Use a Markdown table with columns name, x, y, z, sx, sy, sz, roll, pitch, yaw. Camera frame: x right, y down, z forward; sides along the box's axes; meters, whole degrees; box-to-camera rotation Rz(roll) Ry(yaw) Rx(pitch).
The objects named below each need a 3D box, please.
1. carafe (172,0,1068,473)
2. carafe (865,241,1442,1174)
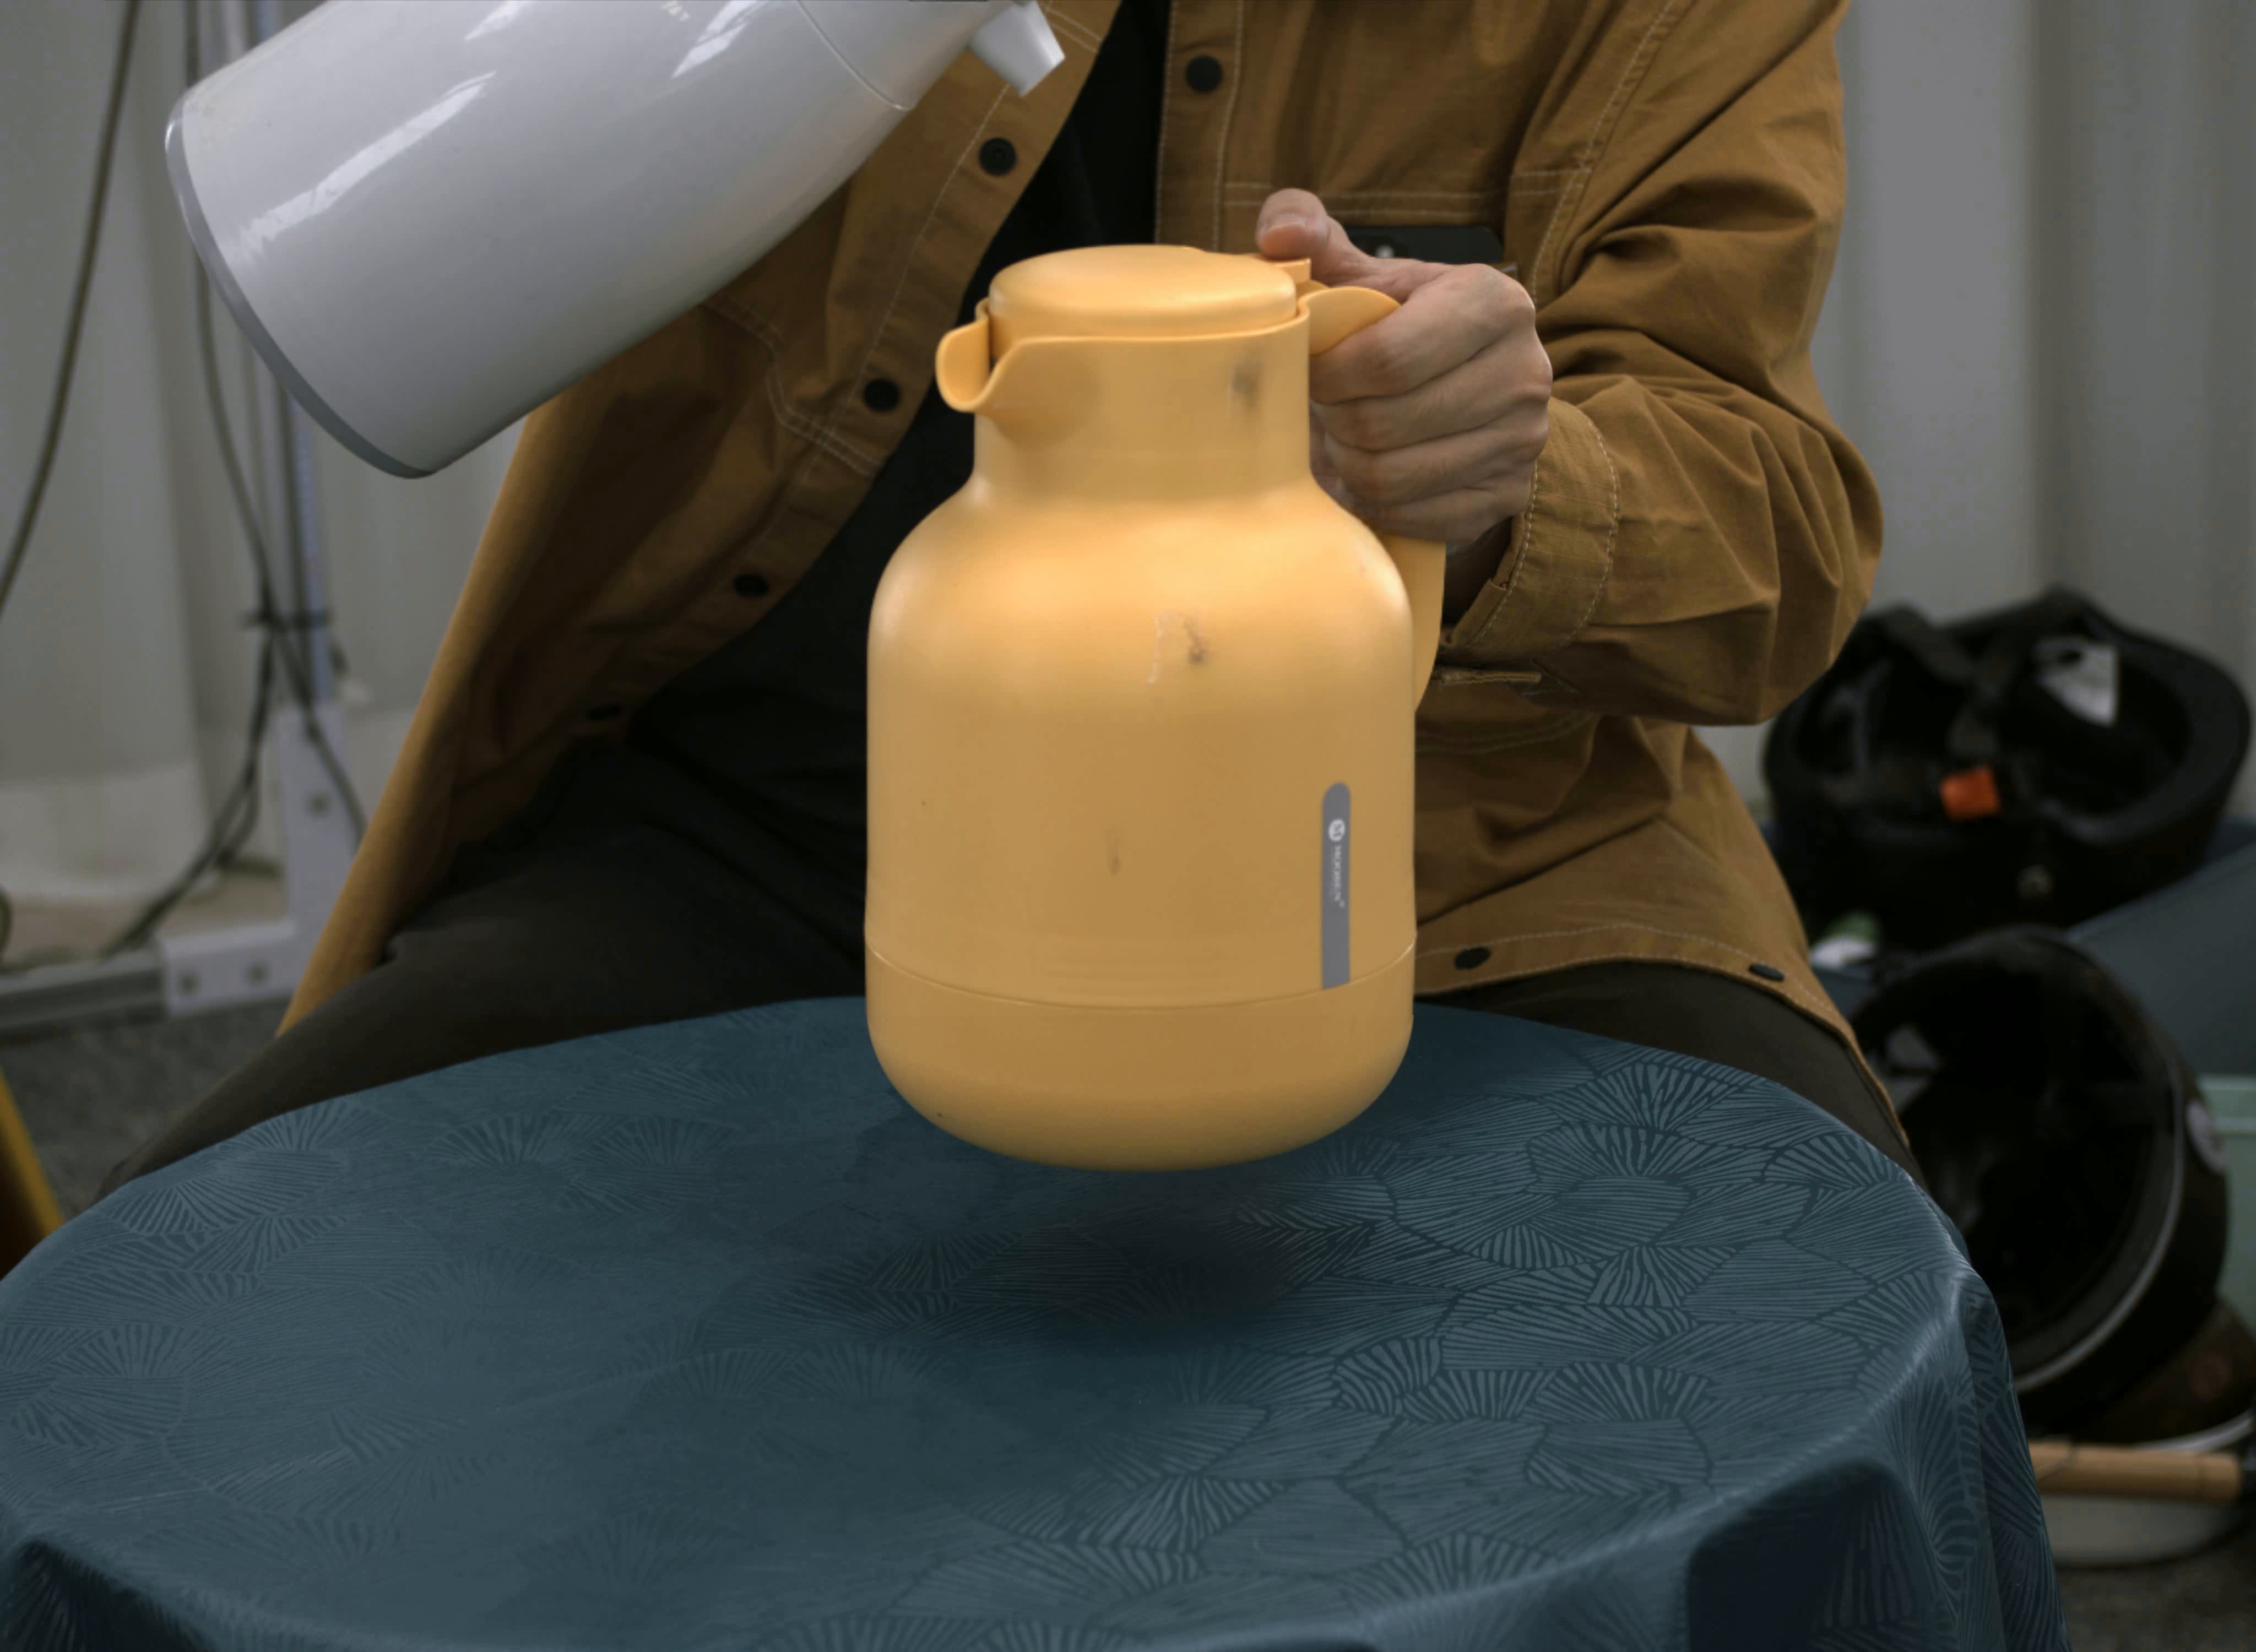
| name | x | y | z | sx | sy | sz | roll | pitch | yaw |
| --- | --- | --- | --- | --- | --- | --- | --- | --- | --- |
| carafe | -0.147 | -0.234 | 1.570 | 0.248 | 0.167 | 0.133 | -30 | 9 | 15 |
| carafe | 0.018 | -0.042 | 1.610 | 0.202 | 0.259 | 0.164 | -15 | 22 | -42 |
